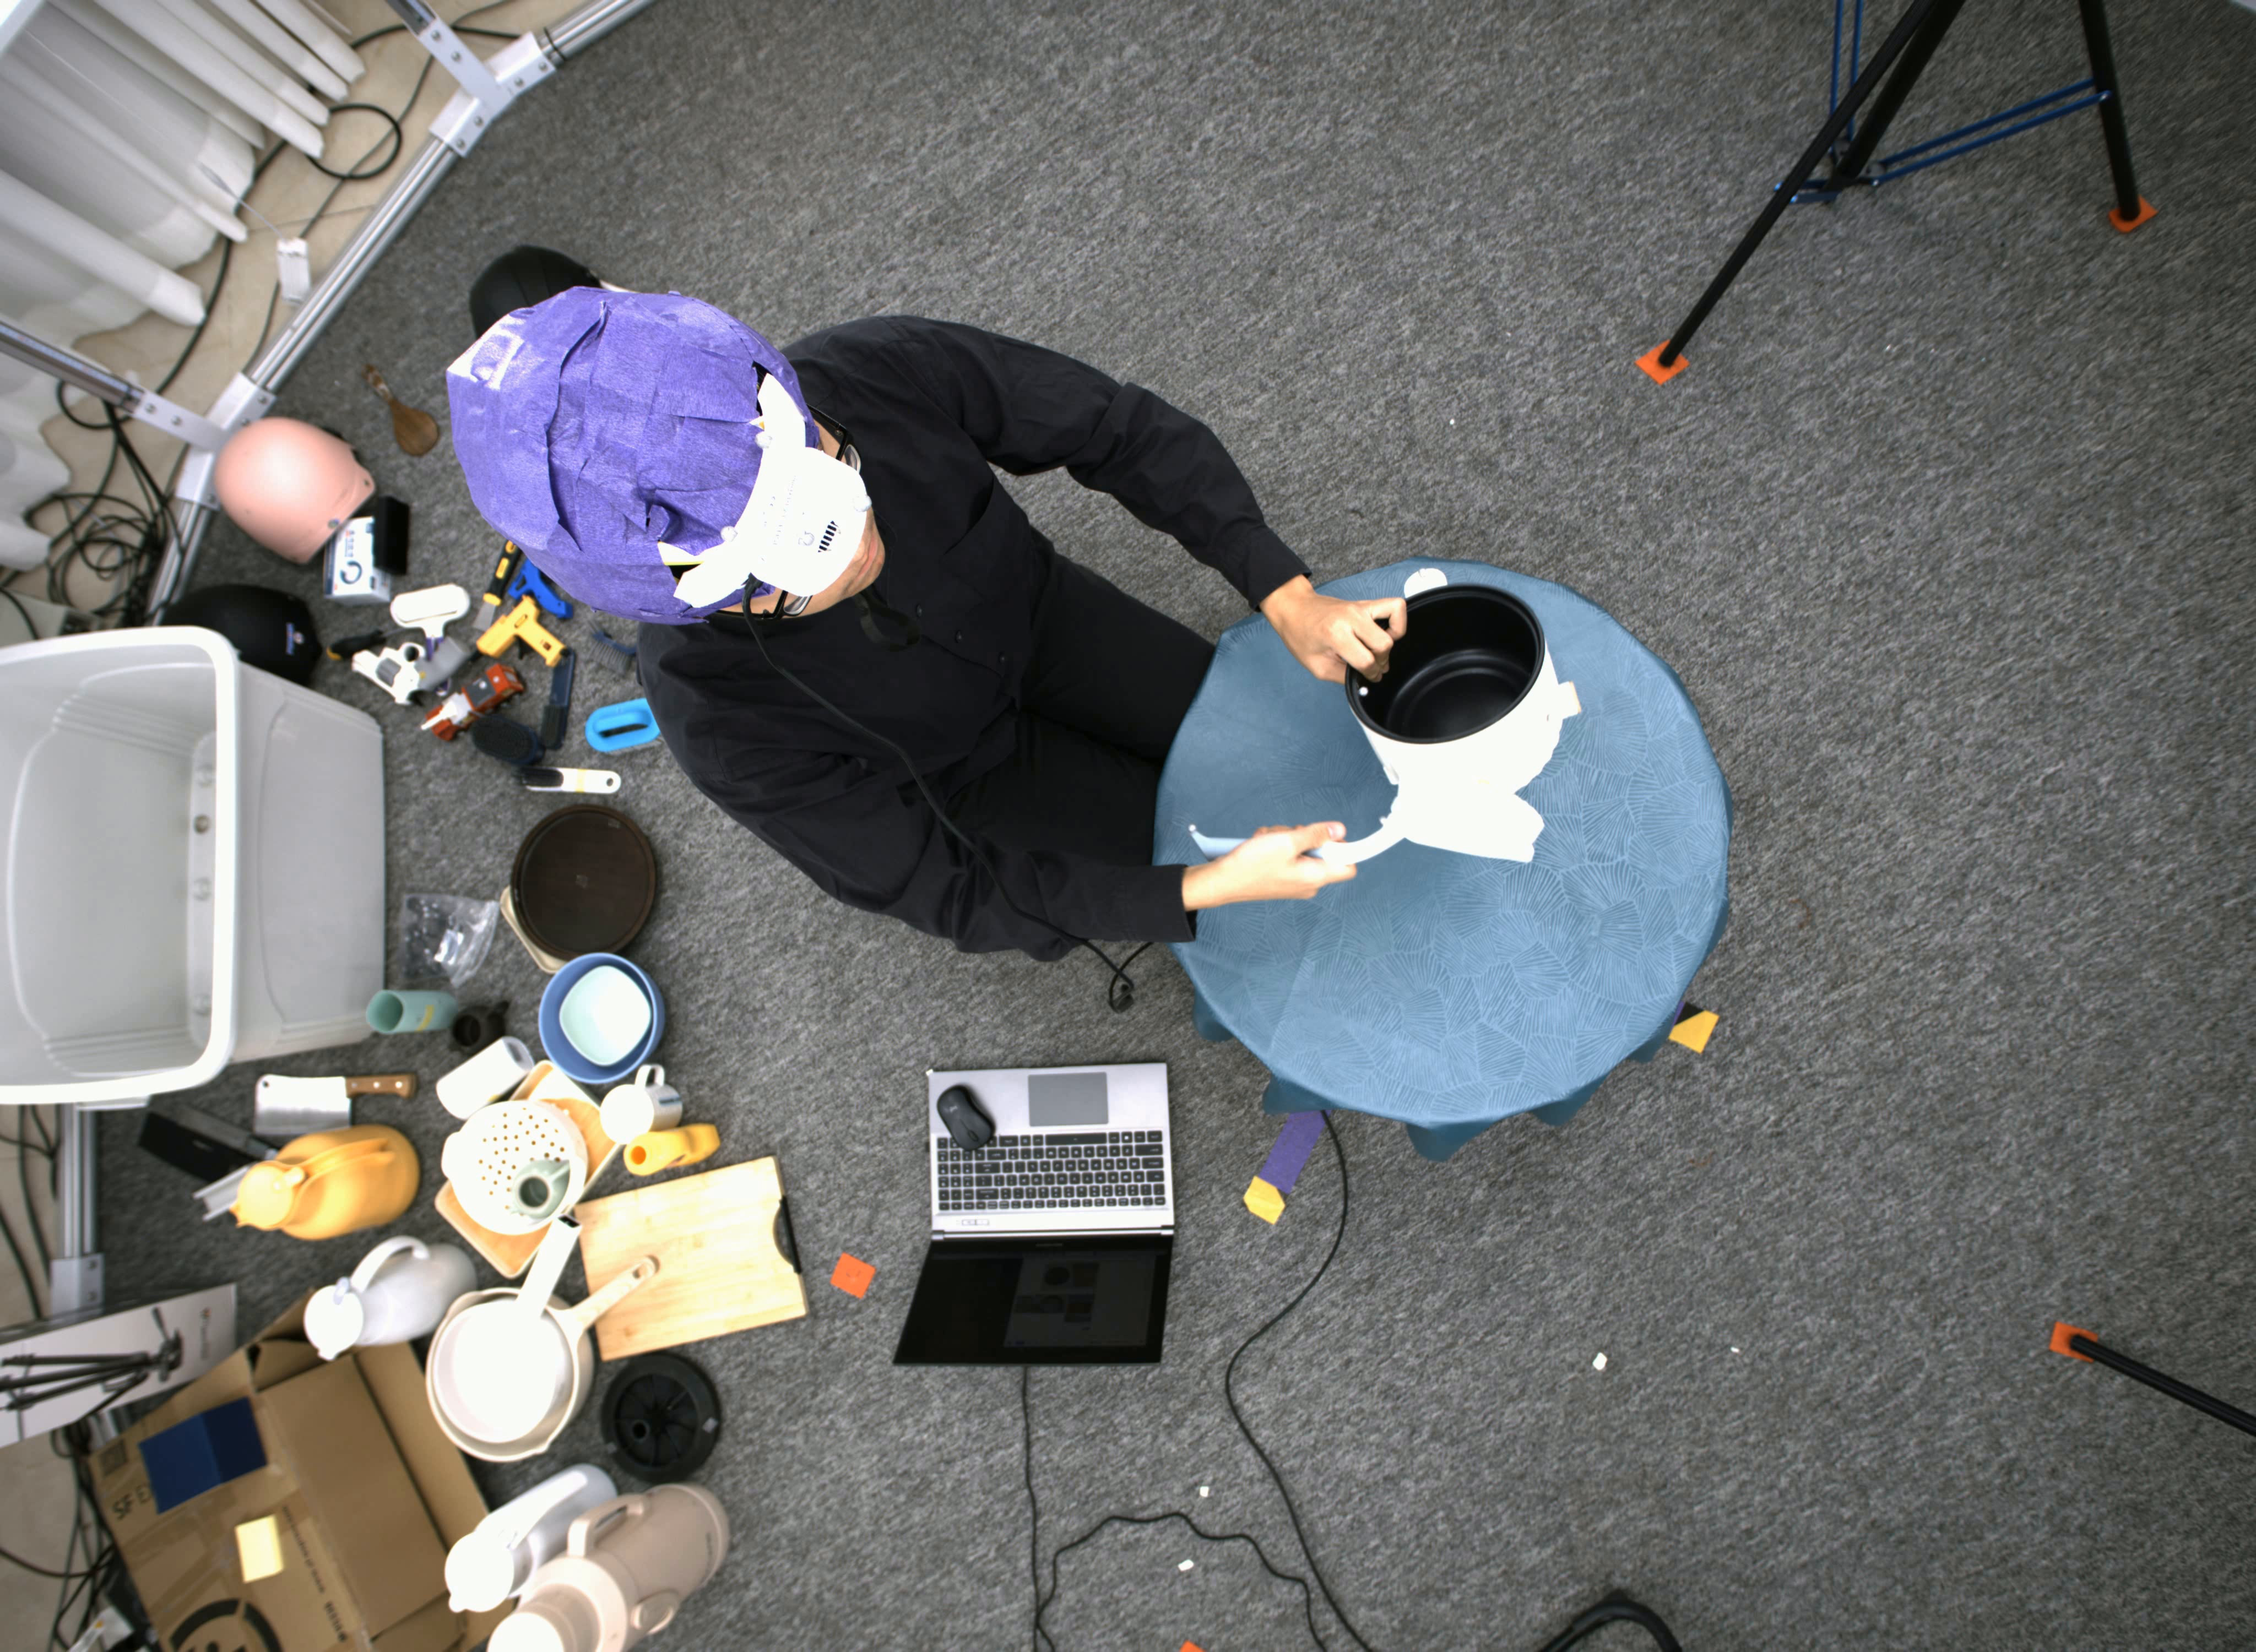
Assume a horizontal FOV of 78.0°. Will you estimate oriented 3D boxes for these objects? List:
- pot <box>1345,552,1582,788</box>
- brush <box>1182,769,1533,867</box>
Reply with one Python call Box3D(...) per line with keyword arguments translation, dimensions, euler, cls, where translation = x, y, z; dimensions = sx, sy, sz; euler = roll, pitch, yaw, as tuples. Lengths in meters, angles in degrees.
Box3D(translation=(0.313, -0.135, 1.269), dimensions=(0.193, 0.144, 0.234), euler=(-20, 53, 21), cls="pot")
Box3D(translation=(0.205, -0.014, 1.267), dimensions=(0.327, 0.082, 0.084), euler=(0, 118, 24), cls="brush")
